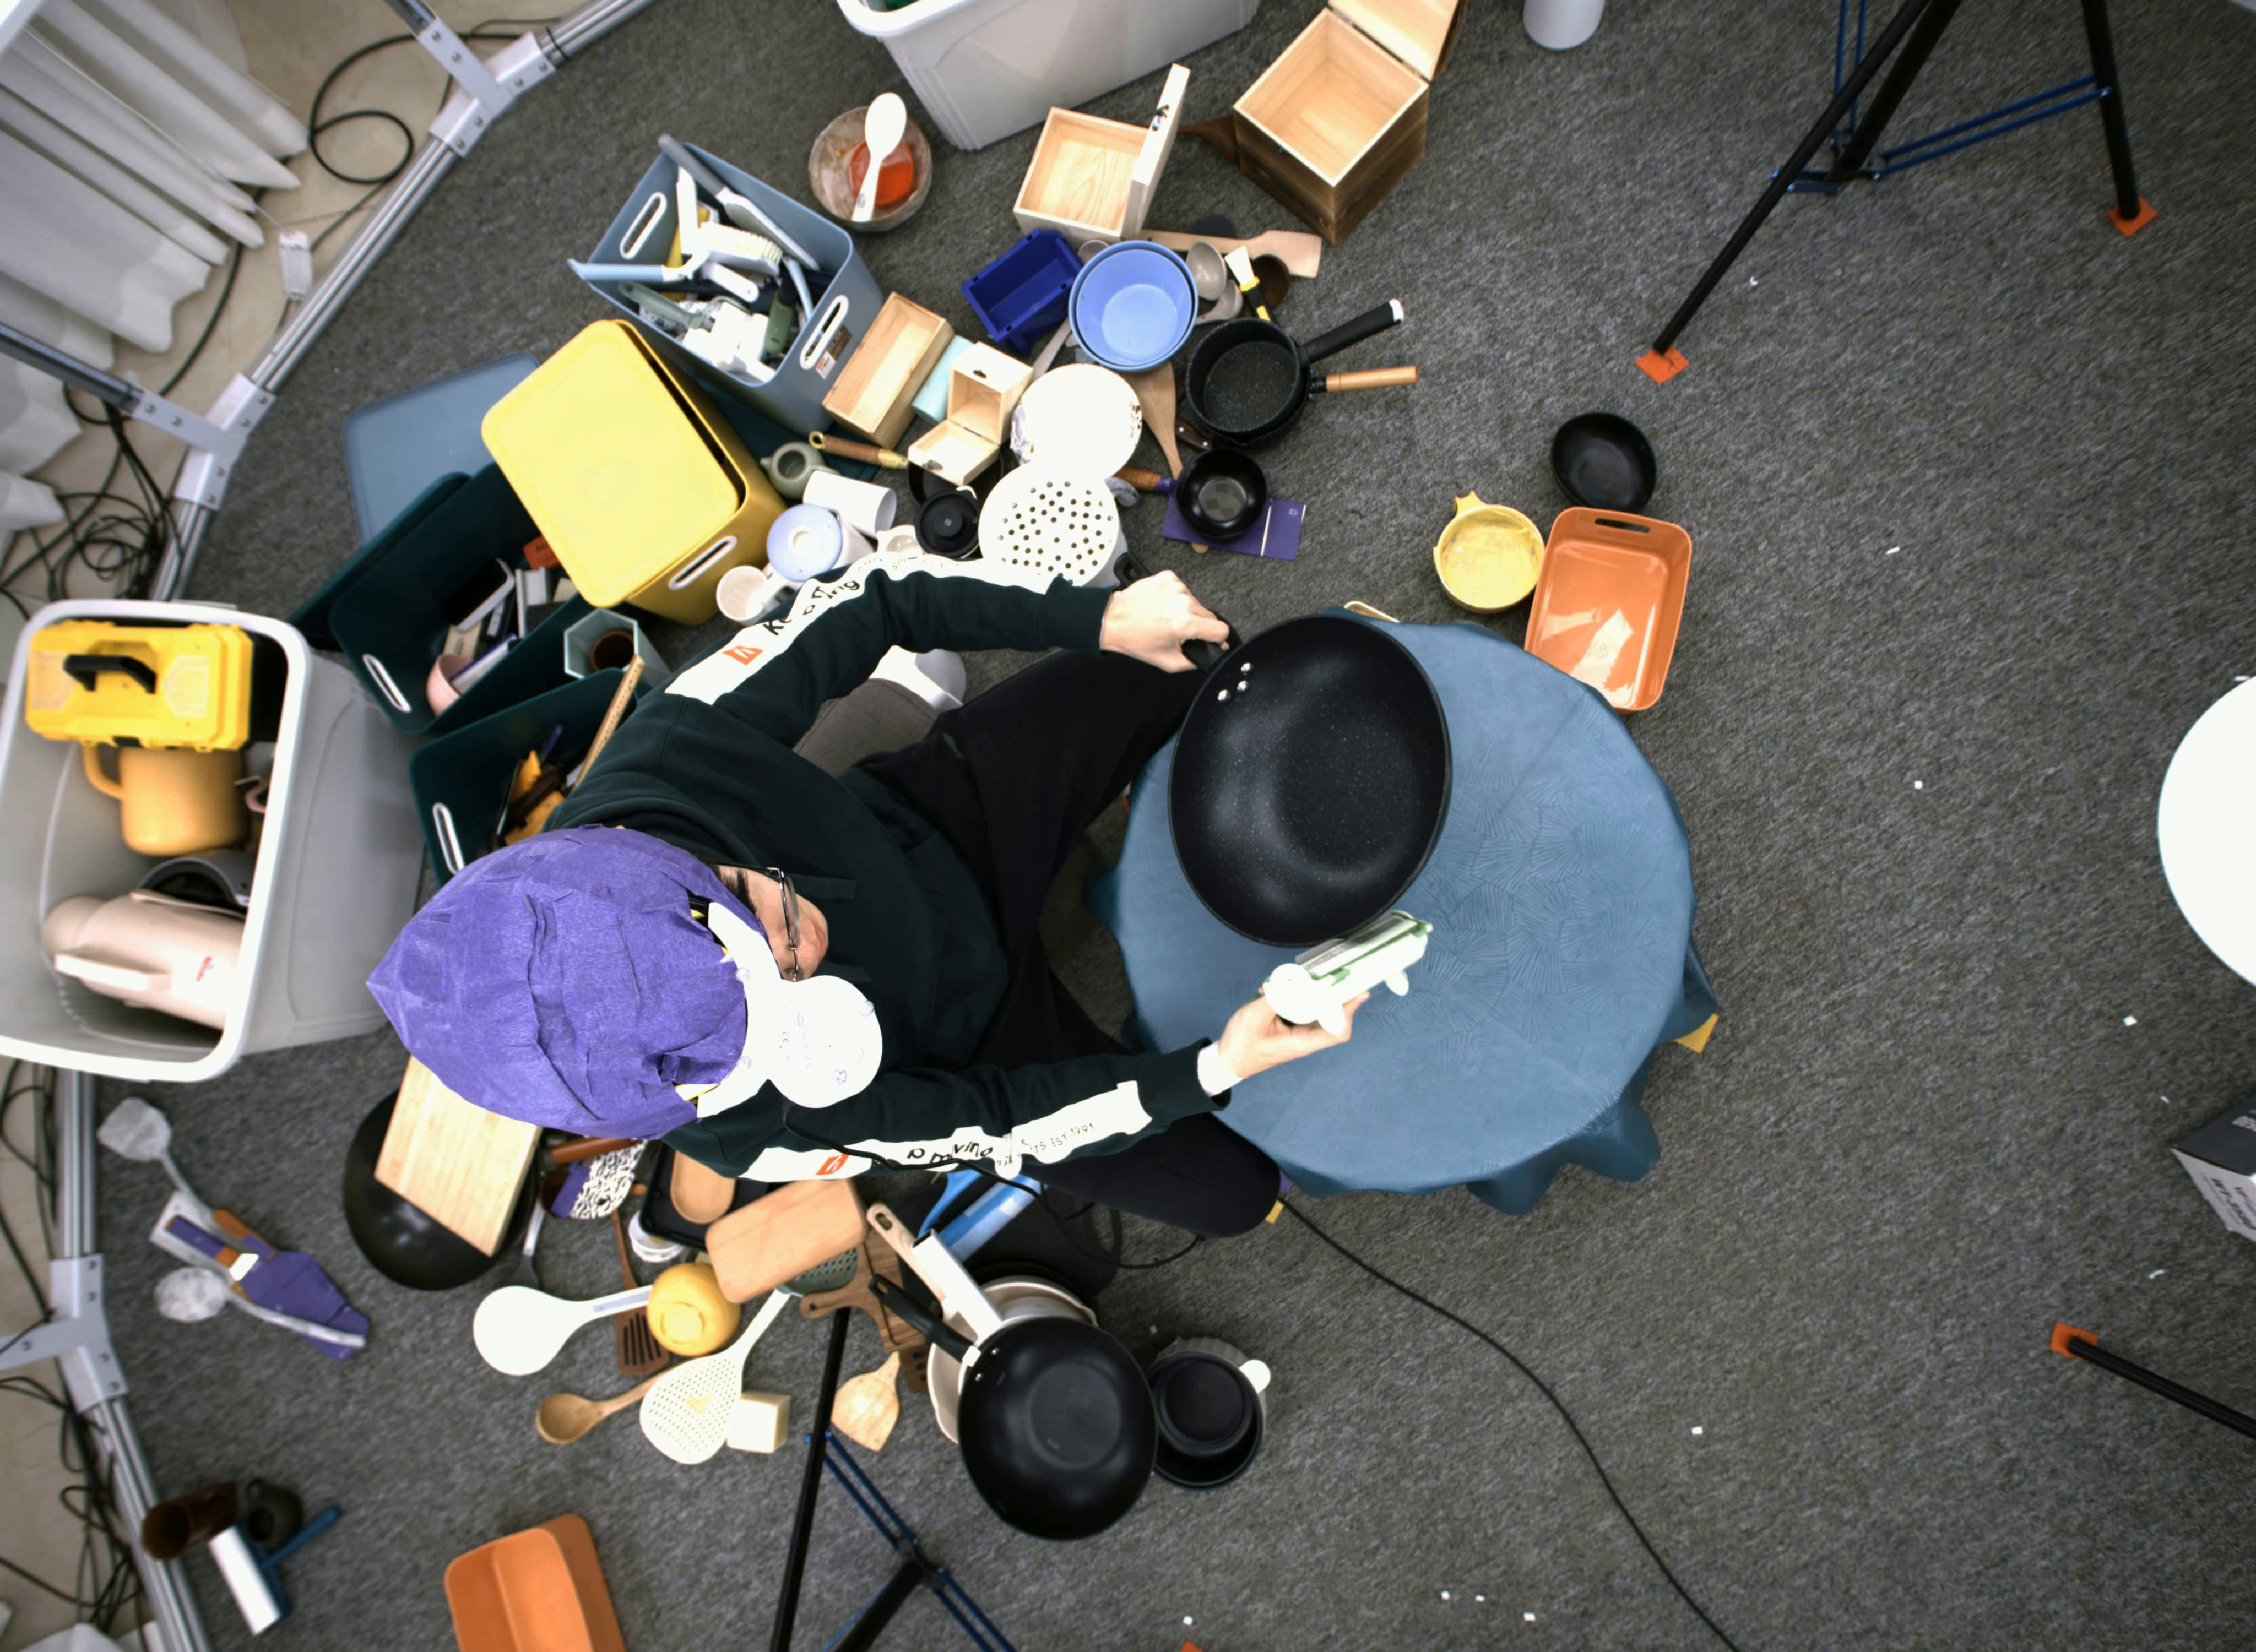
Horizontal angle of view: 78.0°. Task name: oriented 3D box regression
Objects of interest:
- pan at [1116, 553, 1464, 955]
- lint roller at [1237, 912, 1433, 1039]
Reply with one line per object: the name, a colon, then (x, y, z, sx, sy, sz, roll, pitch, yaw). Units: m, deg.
pan: (0.139, -0.094, 1.315, 0.316, 0.111, 0.469, -49, 57, 25)
lint roller: (0.174, 0.162, 1.264, 0.081, 0.195, 0.188, 54, 130, 15)
